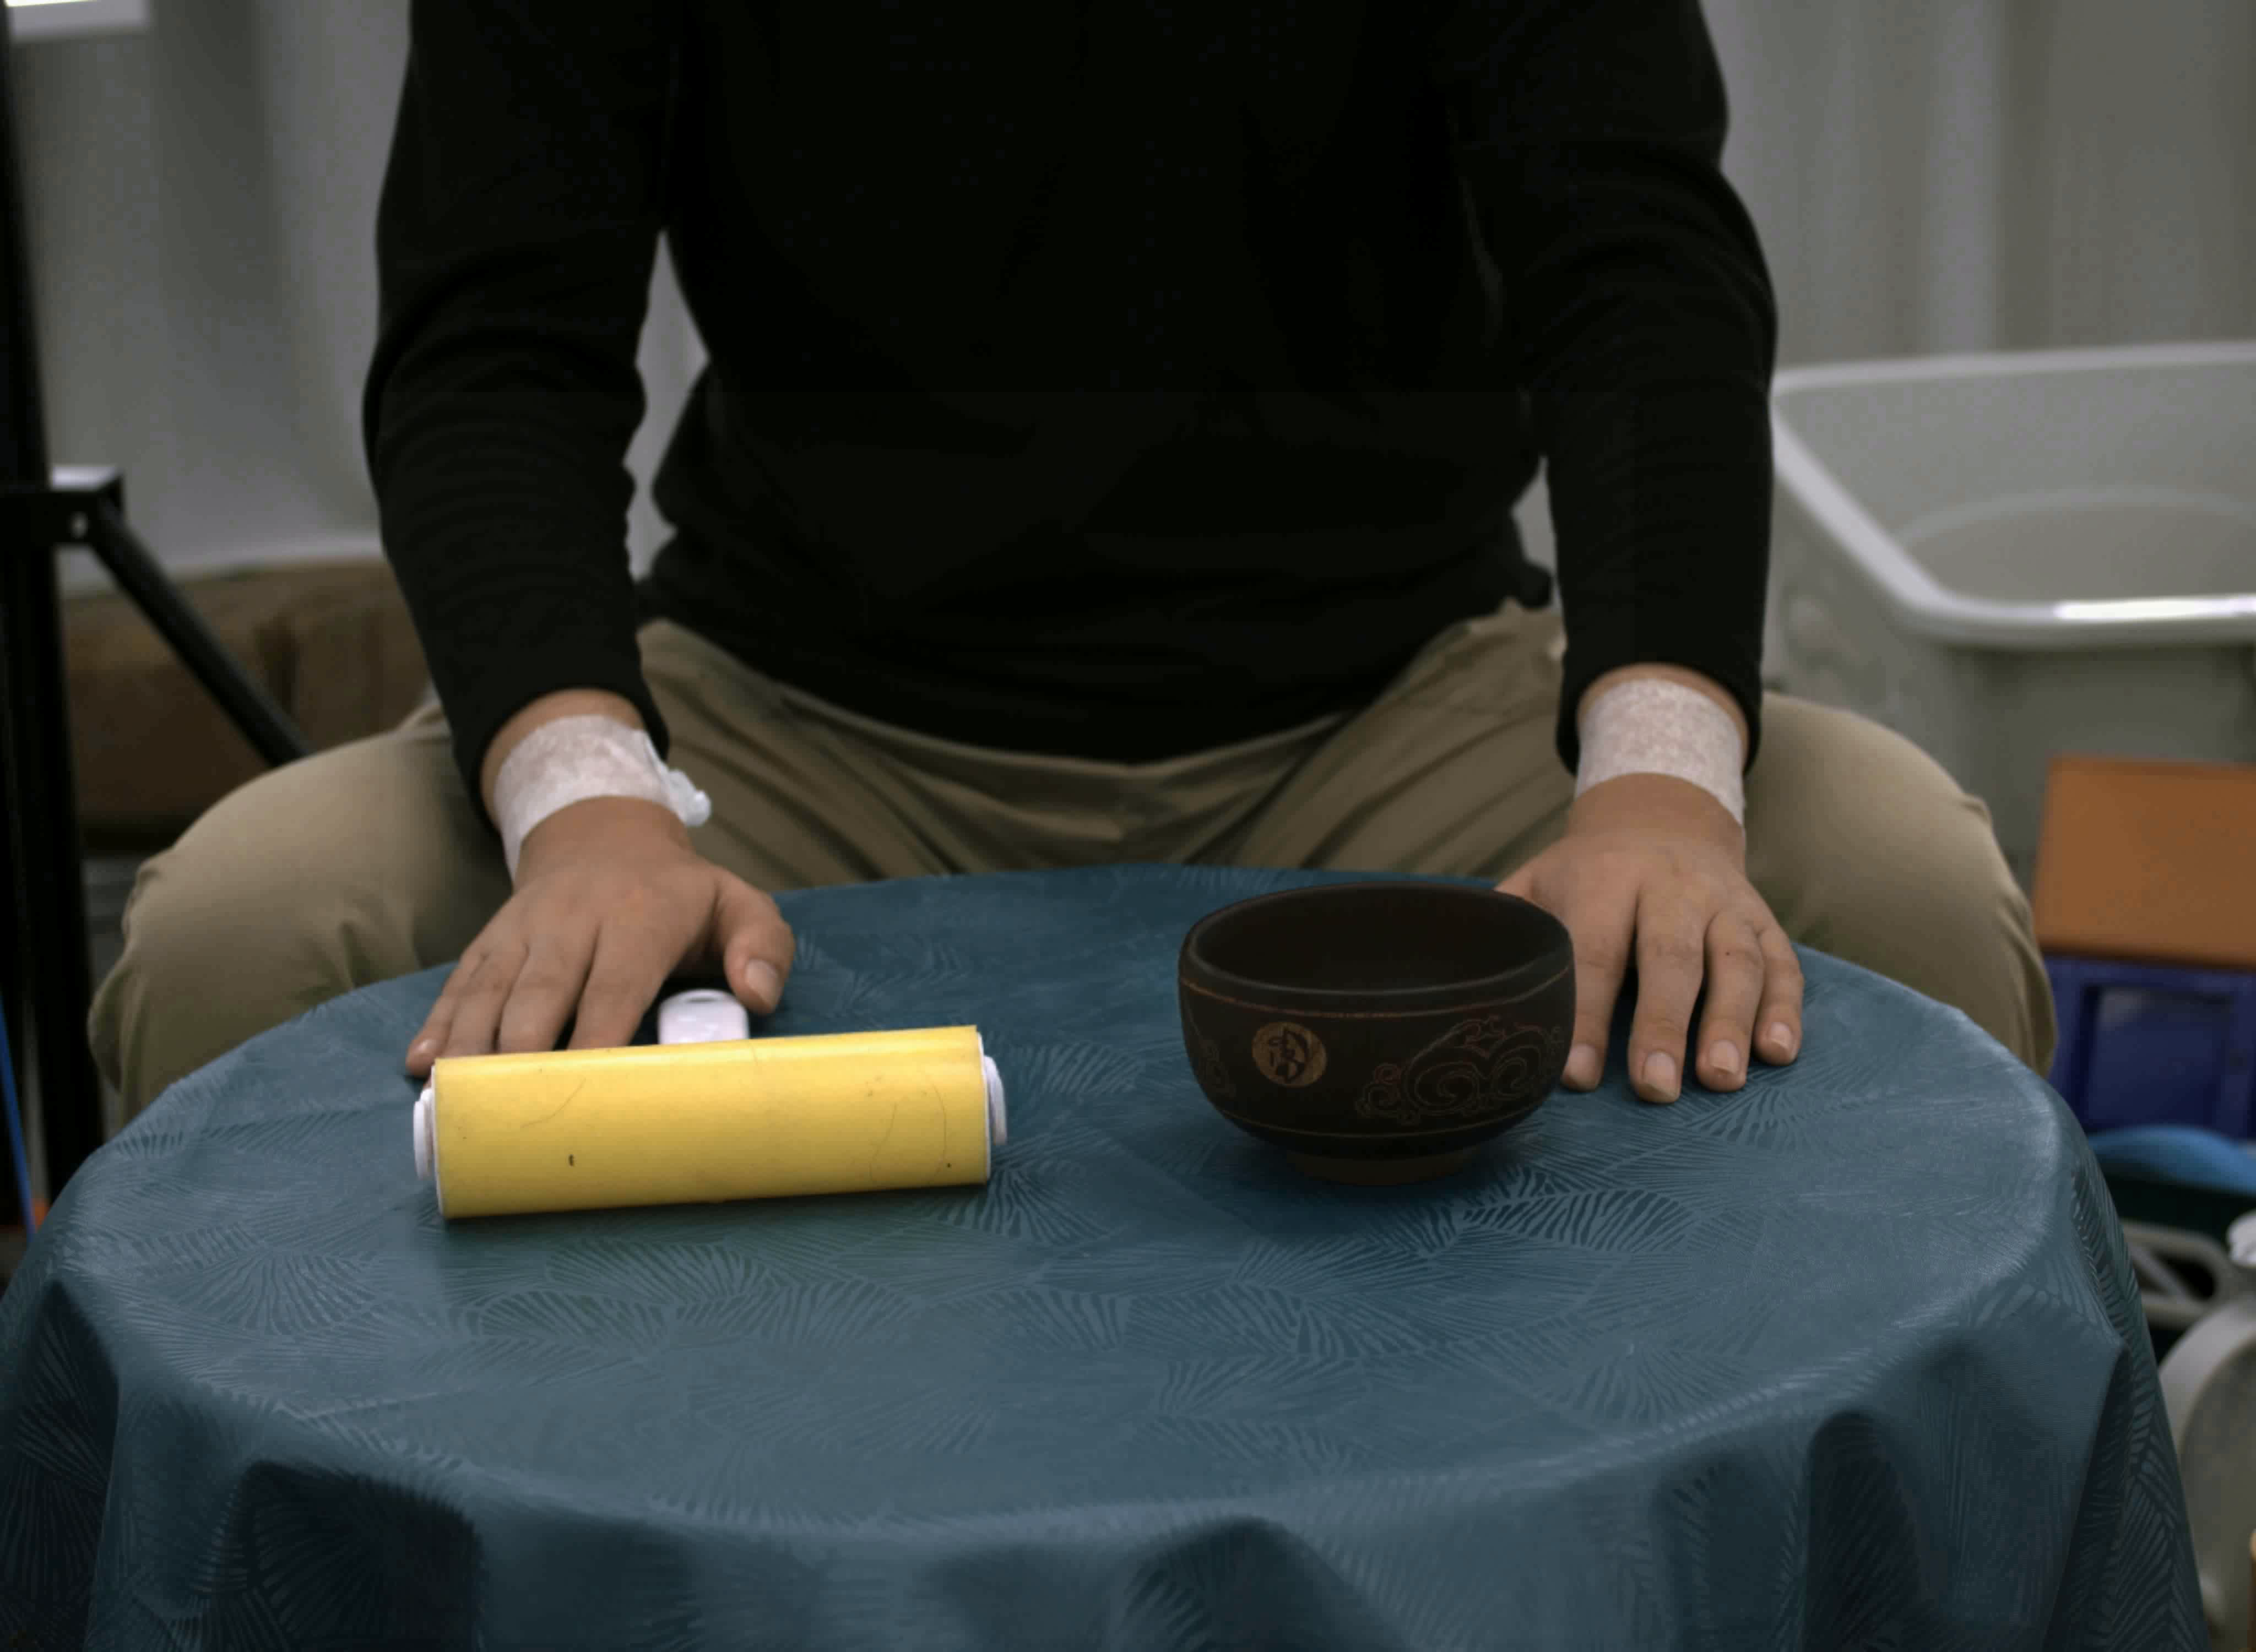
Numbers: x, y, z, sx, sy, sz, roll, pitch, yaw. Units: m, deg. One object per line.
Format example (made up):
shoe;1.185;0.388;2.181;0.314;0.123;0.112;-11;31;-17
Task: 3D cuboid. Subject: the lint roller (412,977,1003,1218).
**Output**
lint roller;-0.133;0.066;1.634;0.173;0.051;0.194;-4;20;-6

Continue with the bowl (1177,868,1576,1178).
bowl;0.074;0.062;1.570;0.117;0.070;0.118;-2;16;-1
